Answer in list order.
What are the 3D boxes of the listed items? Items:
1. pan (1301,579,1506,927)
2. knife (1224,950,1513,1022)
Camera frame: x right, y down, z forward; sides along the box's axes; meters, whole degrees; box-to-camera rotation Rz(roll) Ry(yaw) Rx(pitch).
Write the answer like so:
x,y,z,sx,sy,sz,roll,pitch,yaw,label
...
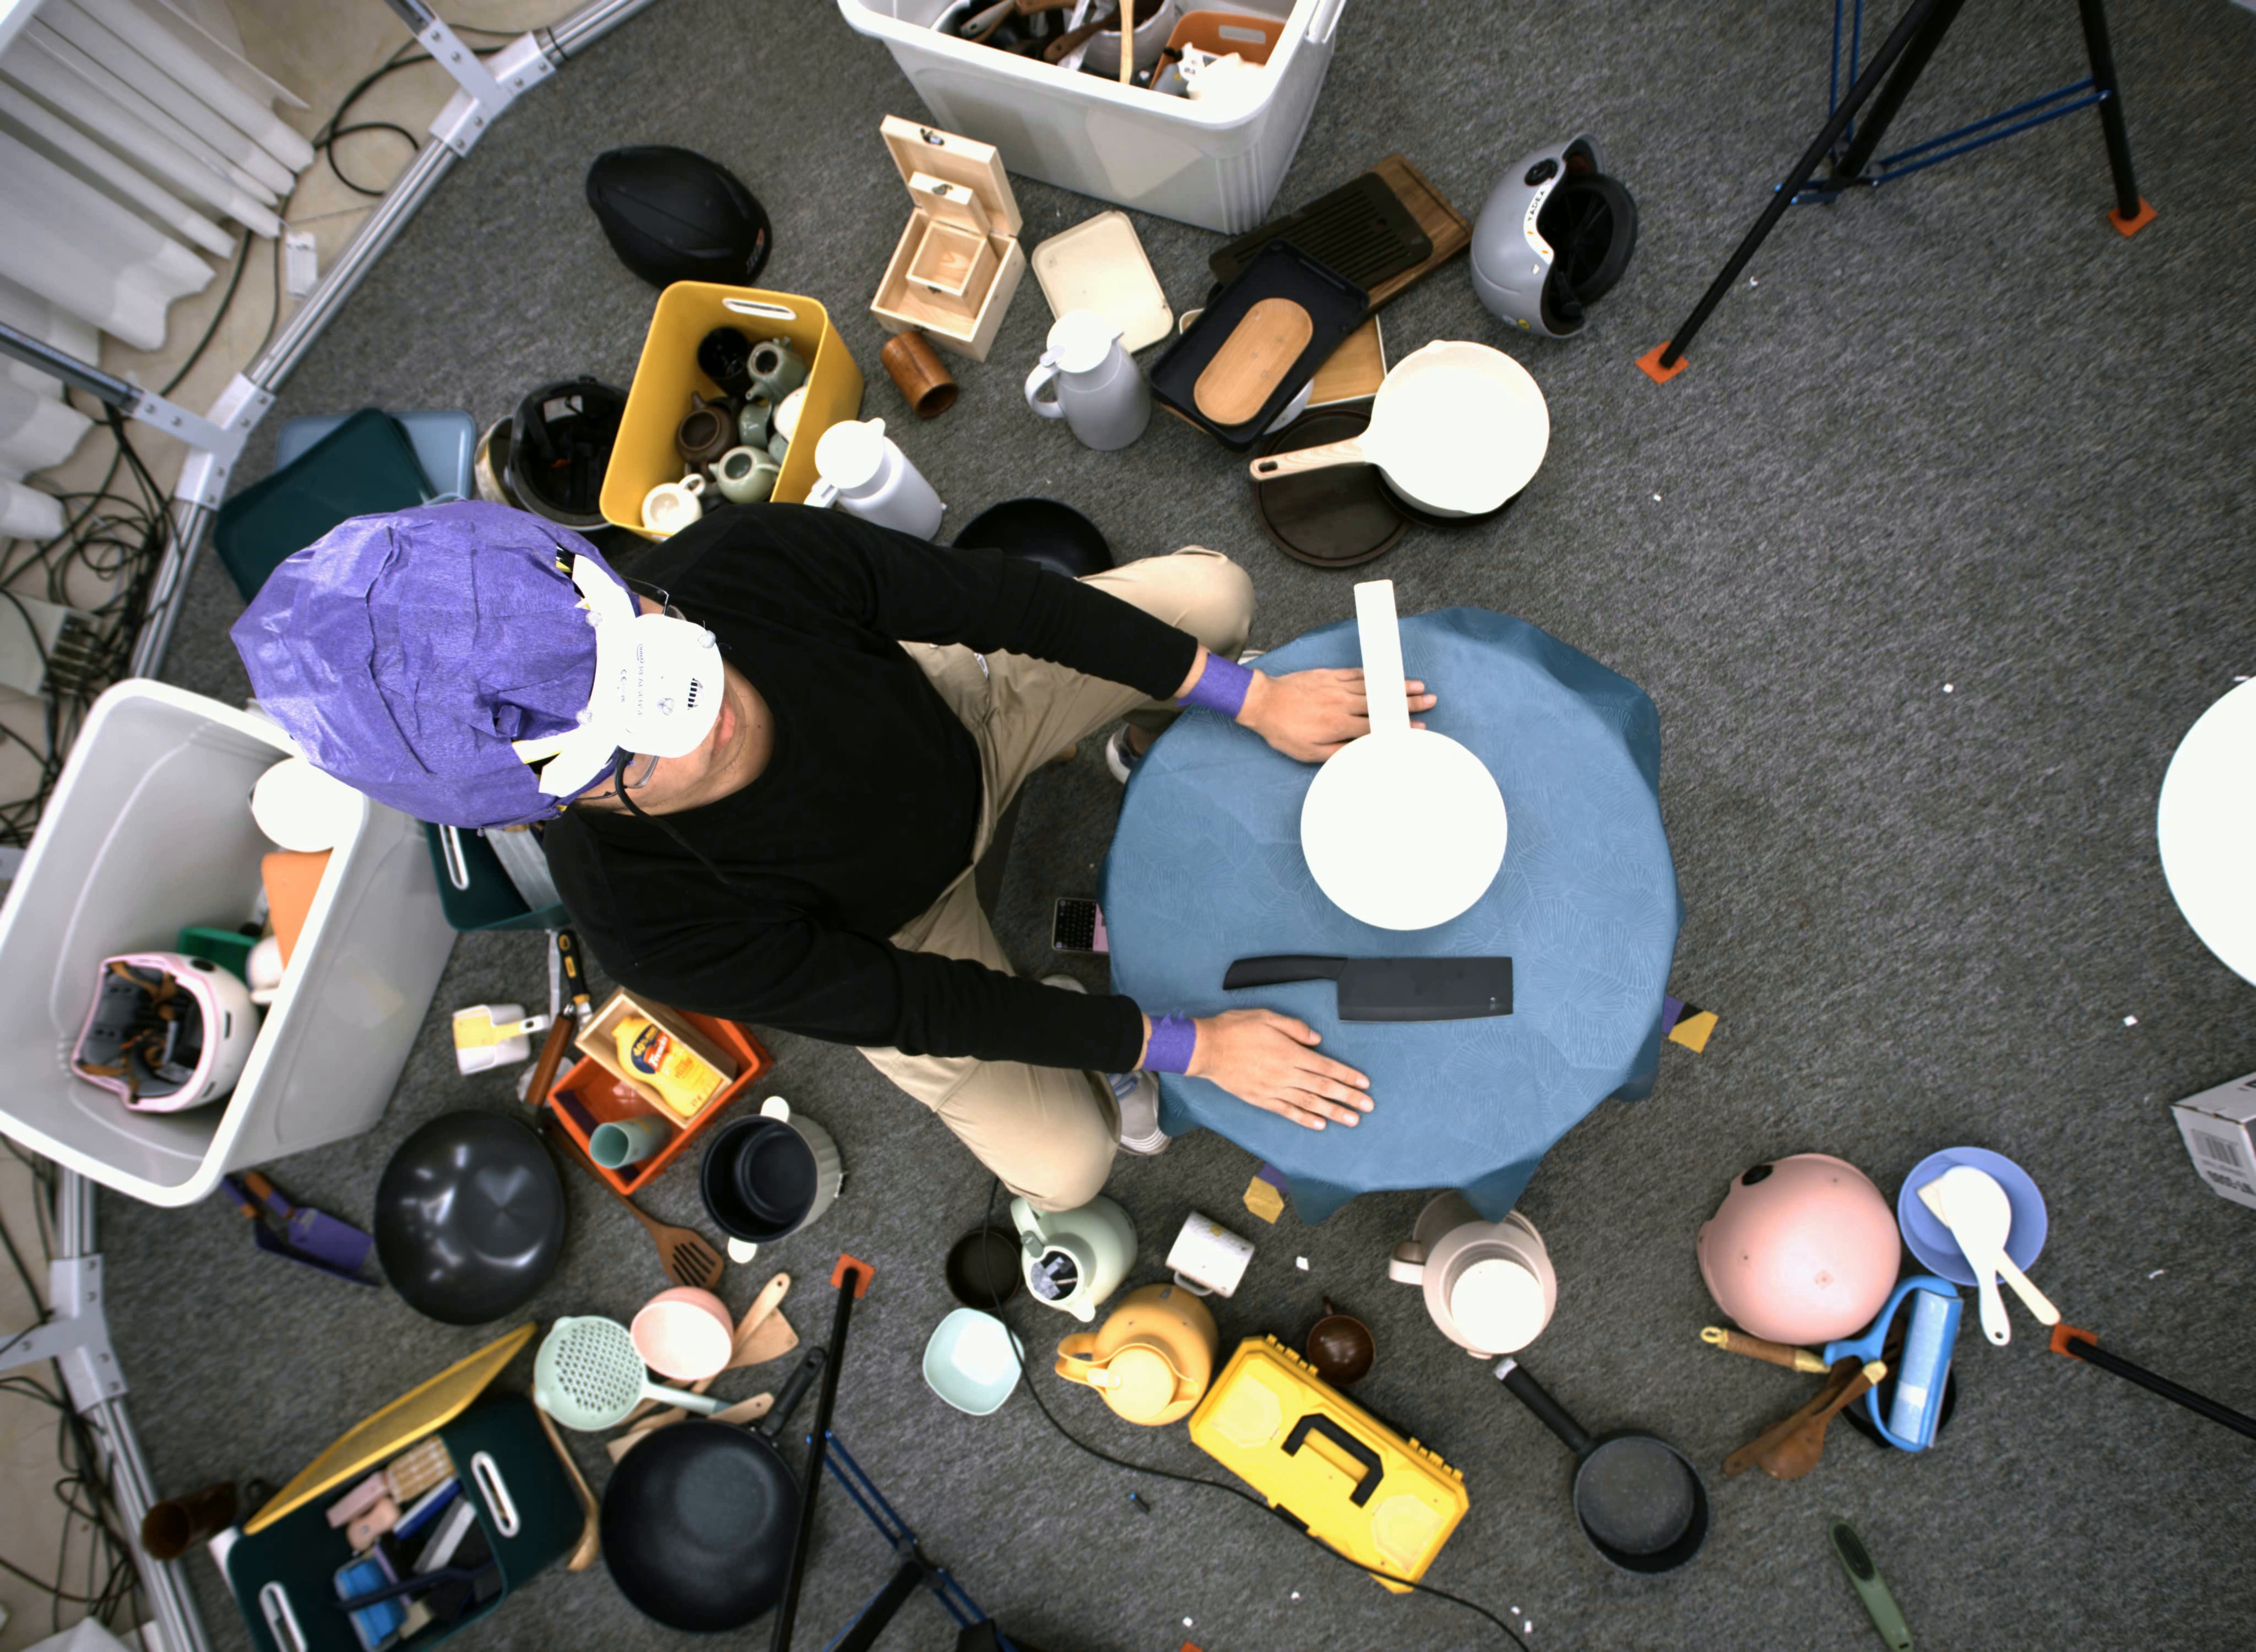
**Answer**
x,y,z,sx,sy,sz,roll,pitch,yaw,label
0.274,-0.072,1.419,0.202,0.102,0.353,-6,85,11,pan
0.252,0.165,1.453,0.303,0.021,0.080,3,88,9,knife
